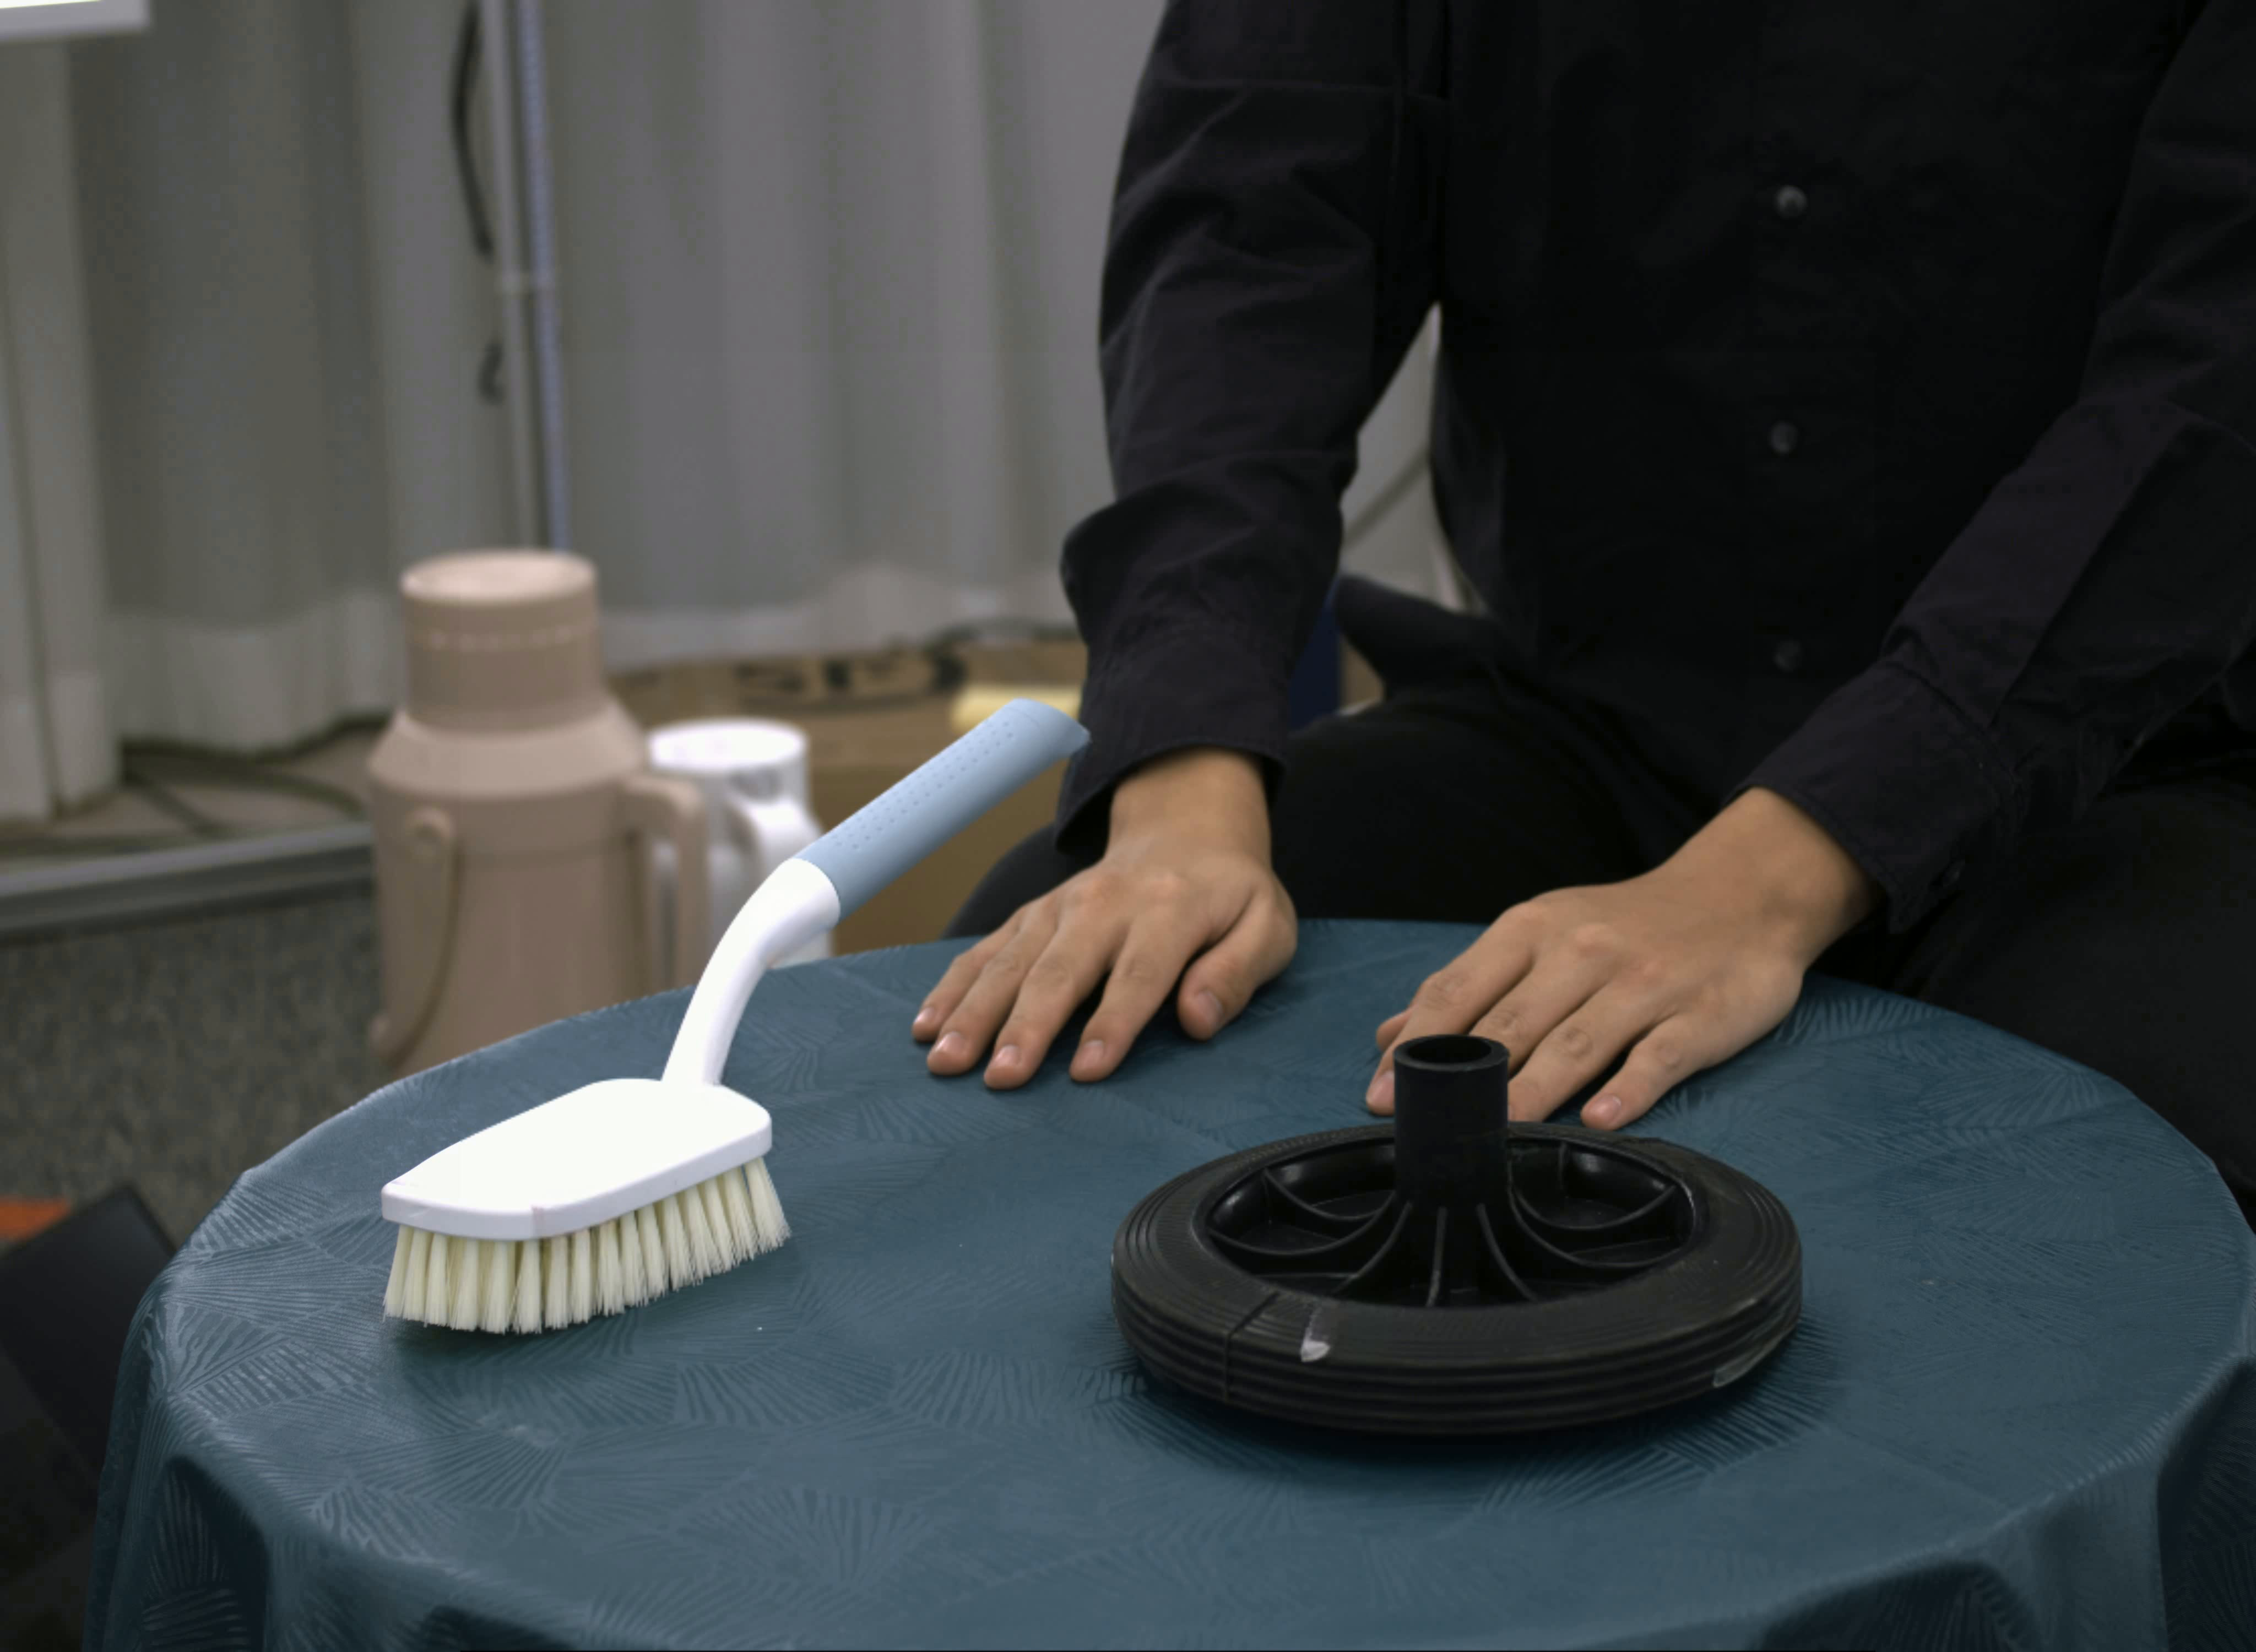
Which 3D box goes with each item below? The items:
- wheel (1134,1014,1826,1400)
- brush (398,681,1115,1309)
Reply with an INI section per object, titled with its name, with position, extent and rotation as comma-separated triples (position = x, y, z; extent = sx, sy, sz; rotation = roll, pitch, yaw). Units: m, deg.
[wheel]
position = 0.095, 0.094, 1.446
extent = 0.191, 0.079, 0.186
rotation = -1, 16, 13
[brush]
position = -0.095, 0.064, 1.582
extent = 0.084, 0.085, 0.320
rotation = 41, 46, 13
